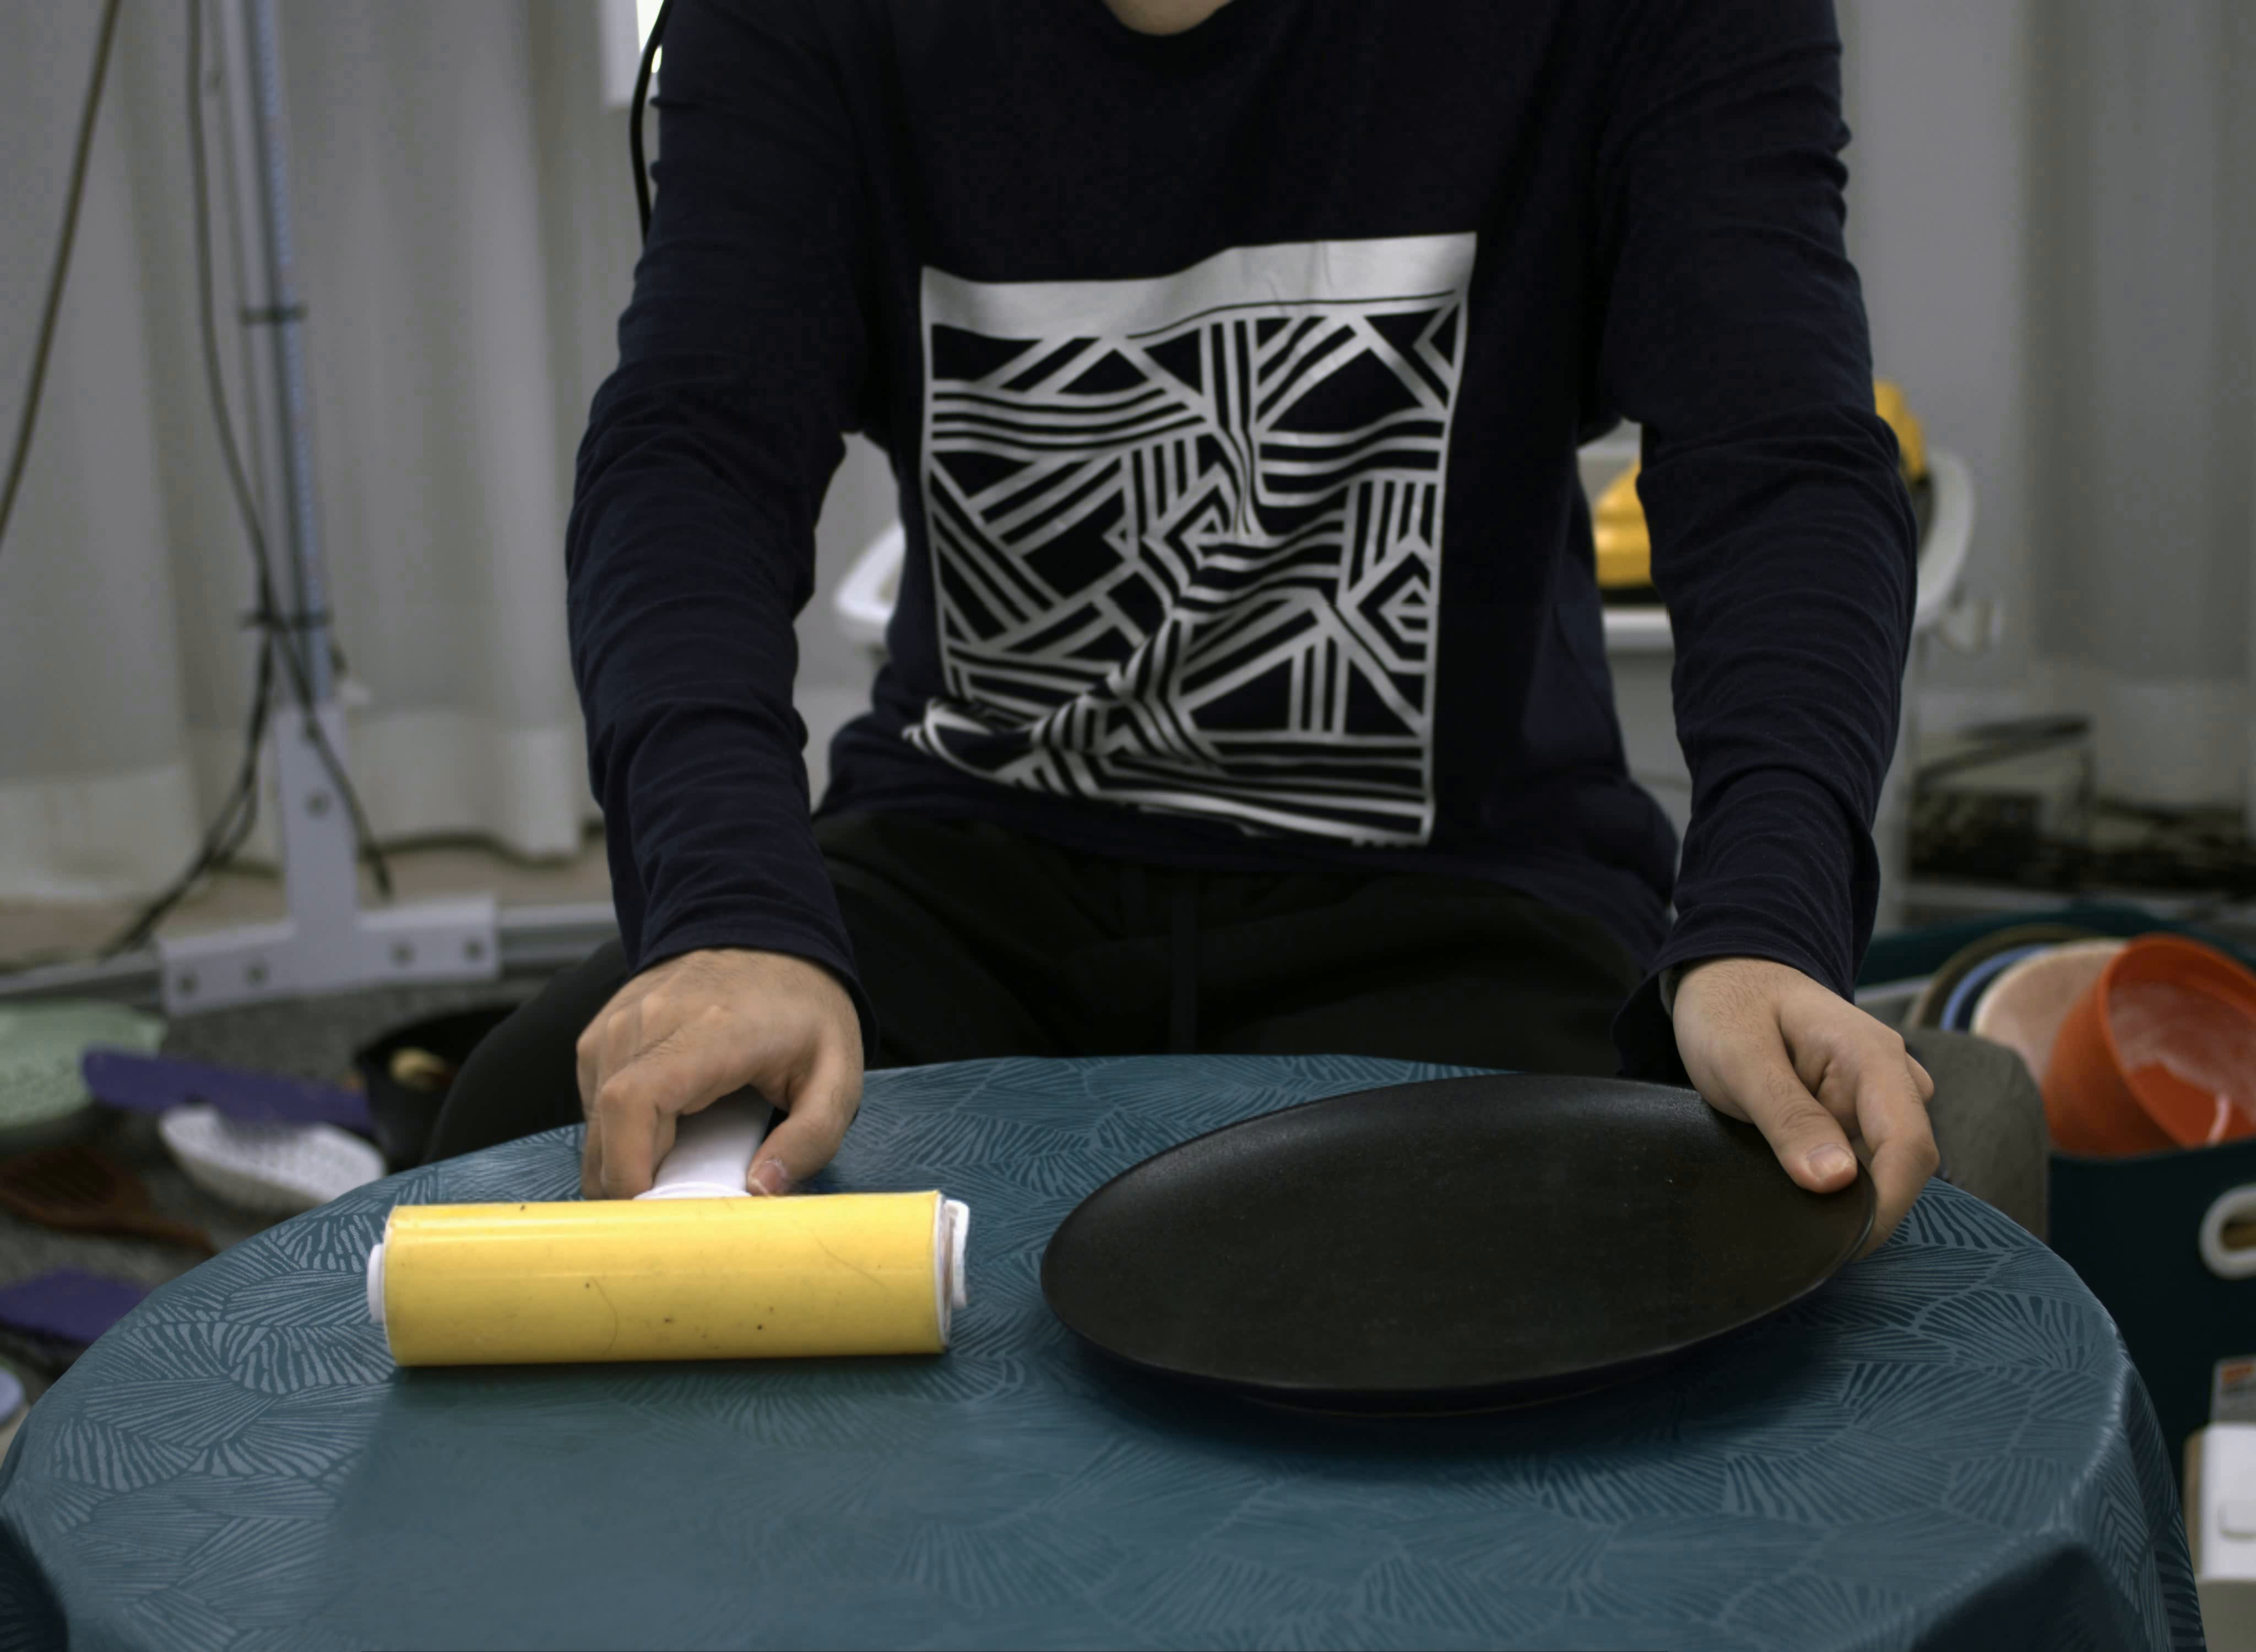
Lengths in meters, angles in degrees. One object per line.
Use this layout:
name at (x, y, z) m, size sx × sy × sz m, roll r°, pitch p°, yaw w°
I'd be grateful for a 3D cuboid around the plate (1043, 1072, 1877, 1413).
plate at (0.097, 0.124, 1.591) m, size 0.243 × 0.023 × 0.246 m, roll -7°, pitch 17°, yaw 2°

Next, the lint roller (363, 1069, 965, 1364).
lint roller at (-0.133, 0.103, 1.652) m, size 0.174 × 0.051 × 0.194 m, roll -1°, pitch 25°, yaw 2°
